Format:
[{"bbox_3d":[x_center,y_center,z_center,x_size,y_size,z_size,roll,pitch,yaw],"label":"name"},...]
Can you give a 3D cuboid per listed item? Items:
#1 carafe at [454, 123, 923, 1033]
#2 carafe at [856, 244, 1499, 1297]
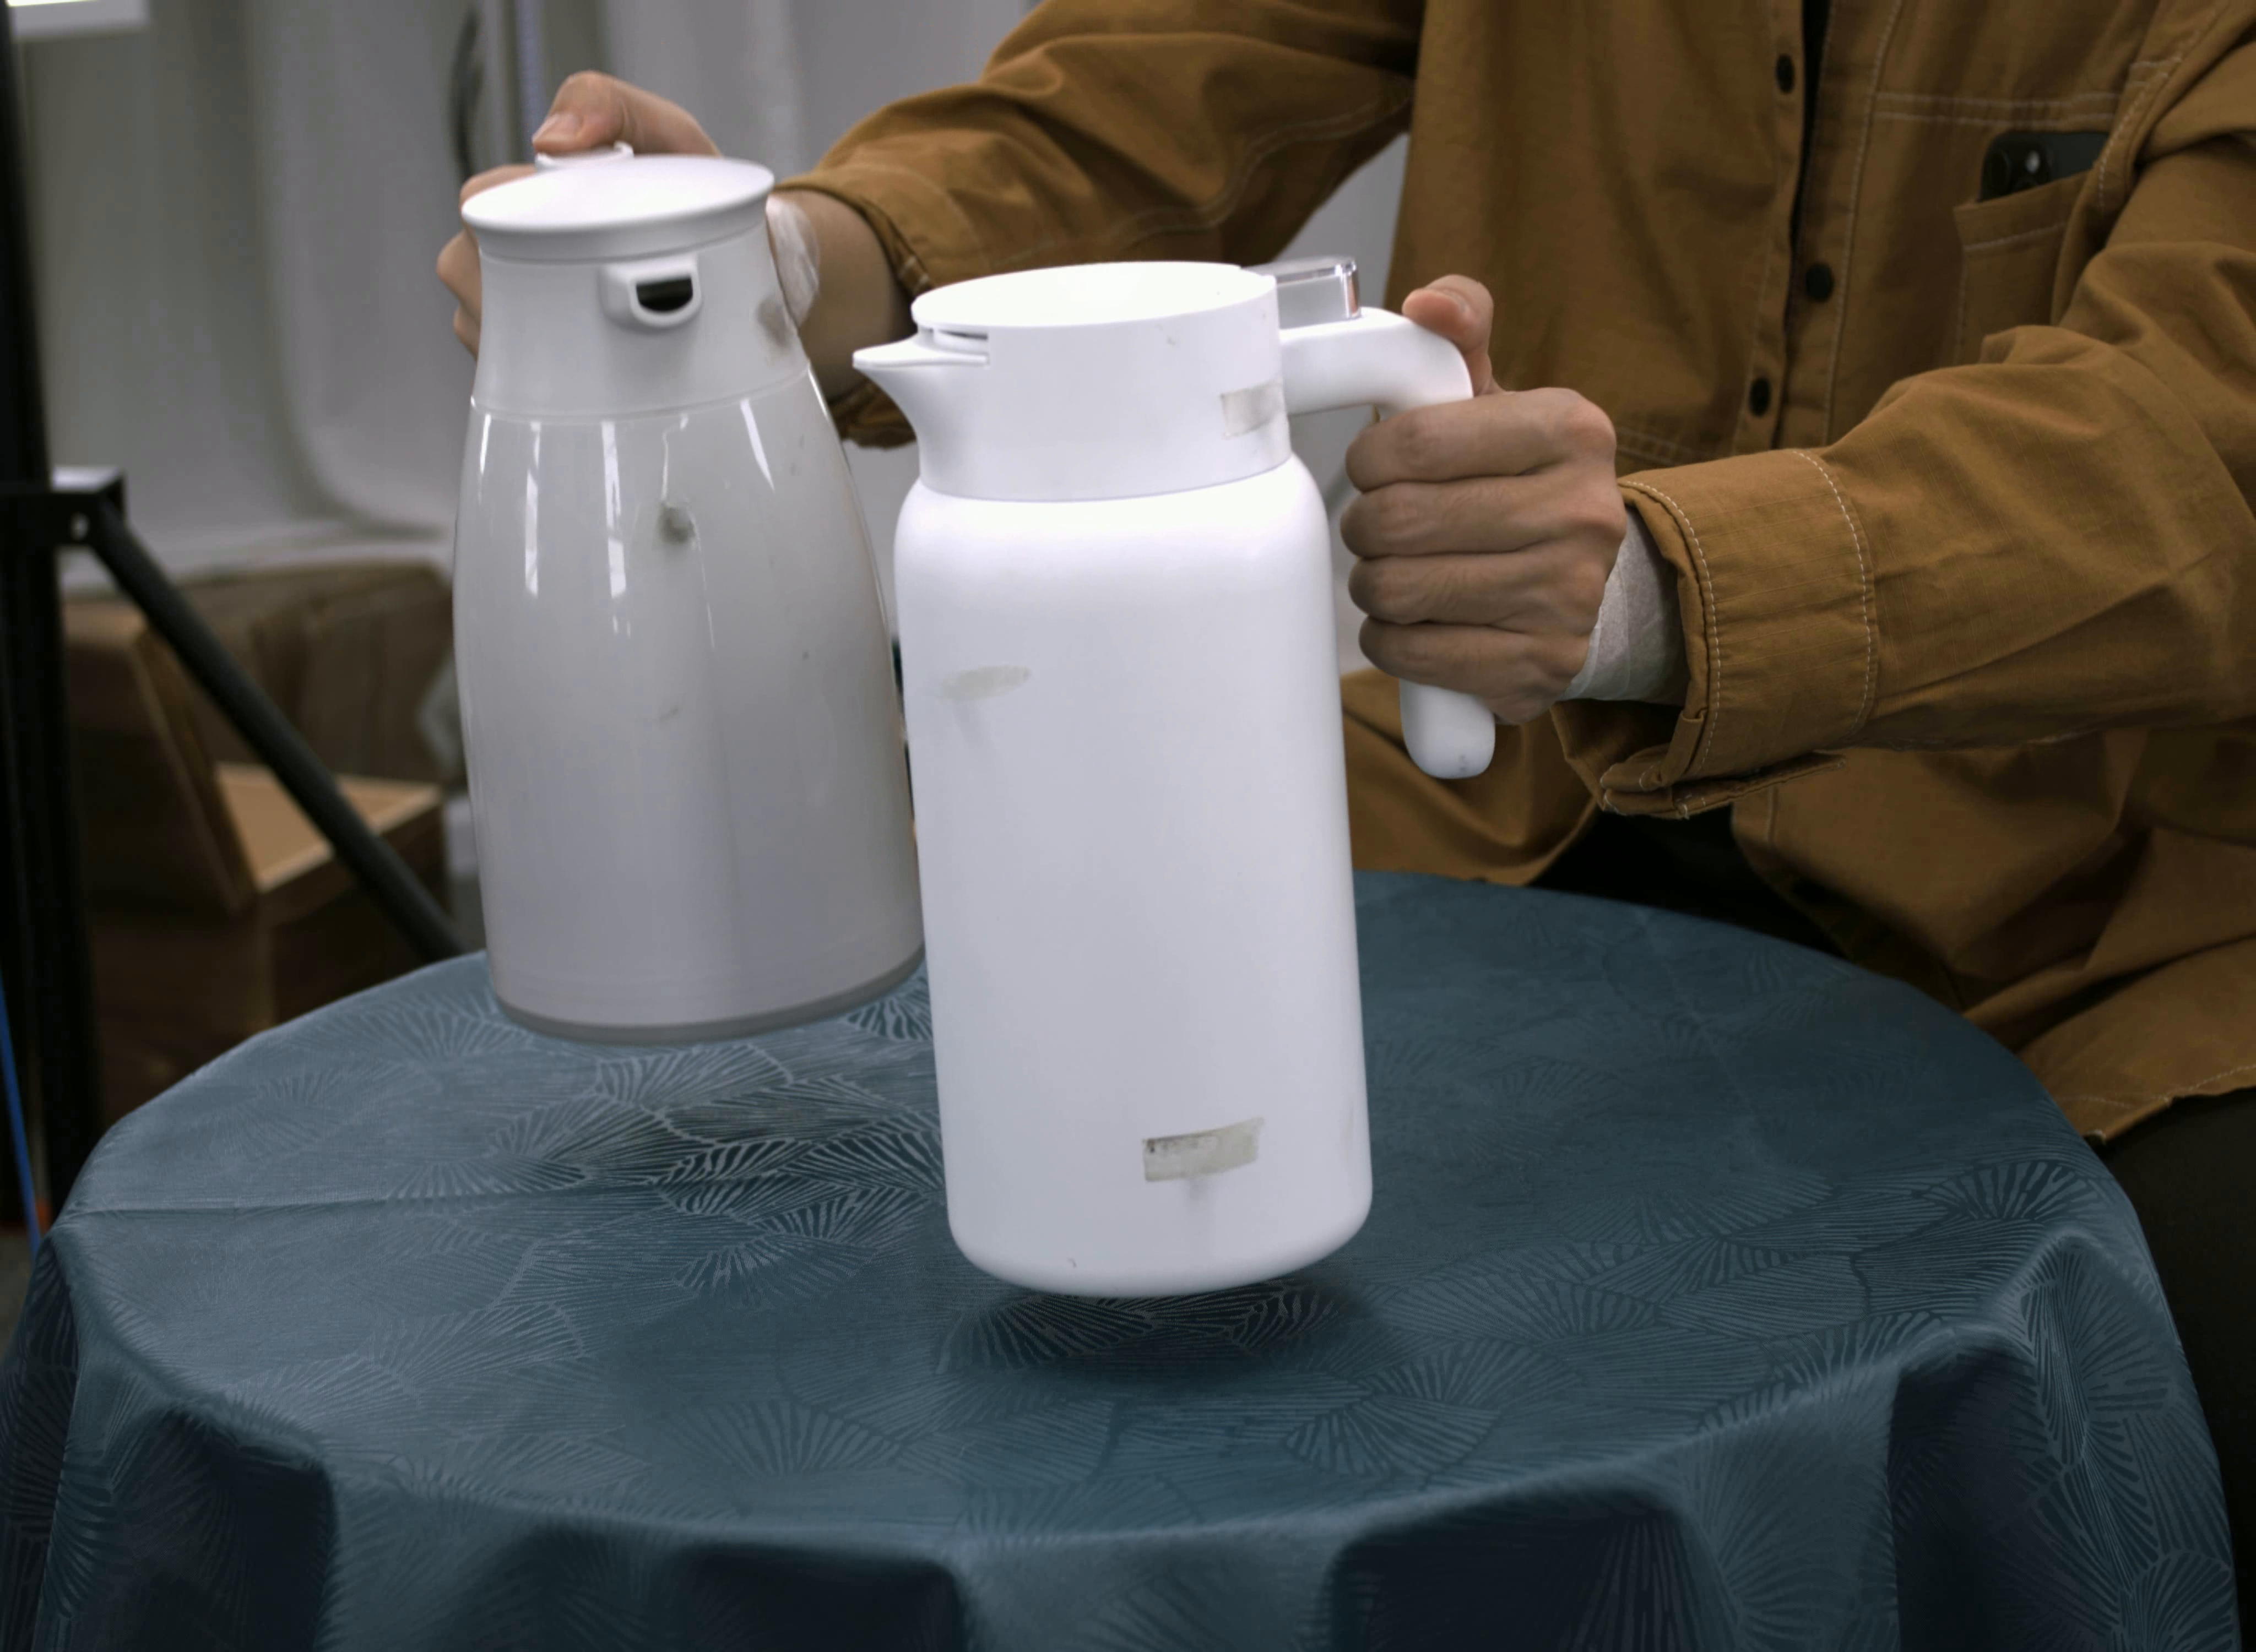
[{"bbox_3d":[-0.143,-0.082,1.593,0.130,0.248,0.170,-9,16,-14],"label":"carafe"},{"bbox_3d":[0.017,-0.019,1.429,0.169,0.269,0.126,-9,12,-20],"label":"carafe"}]
